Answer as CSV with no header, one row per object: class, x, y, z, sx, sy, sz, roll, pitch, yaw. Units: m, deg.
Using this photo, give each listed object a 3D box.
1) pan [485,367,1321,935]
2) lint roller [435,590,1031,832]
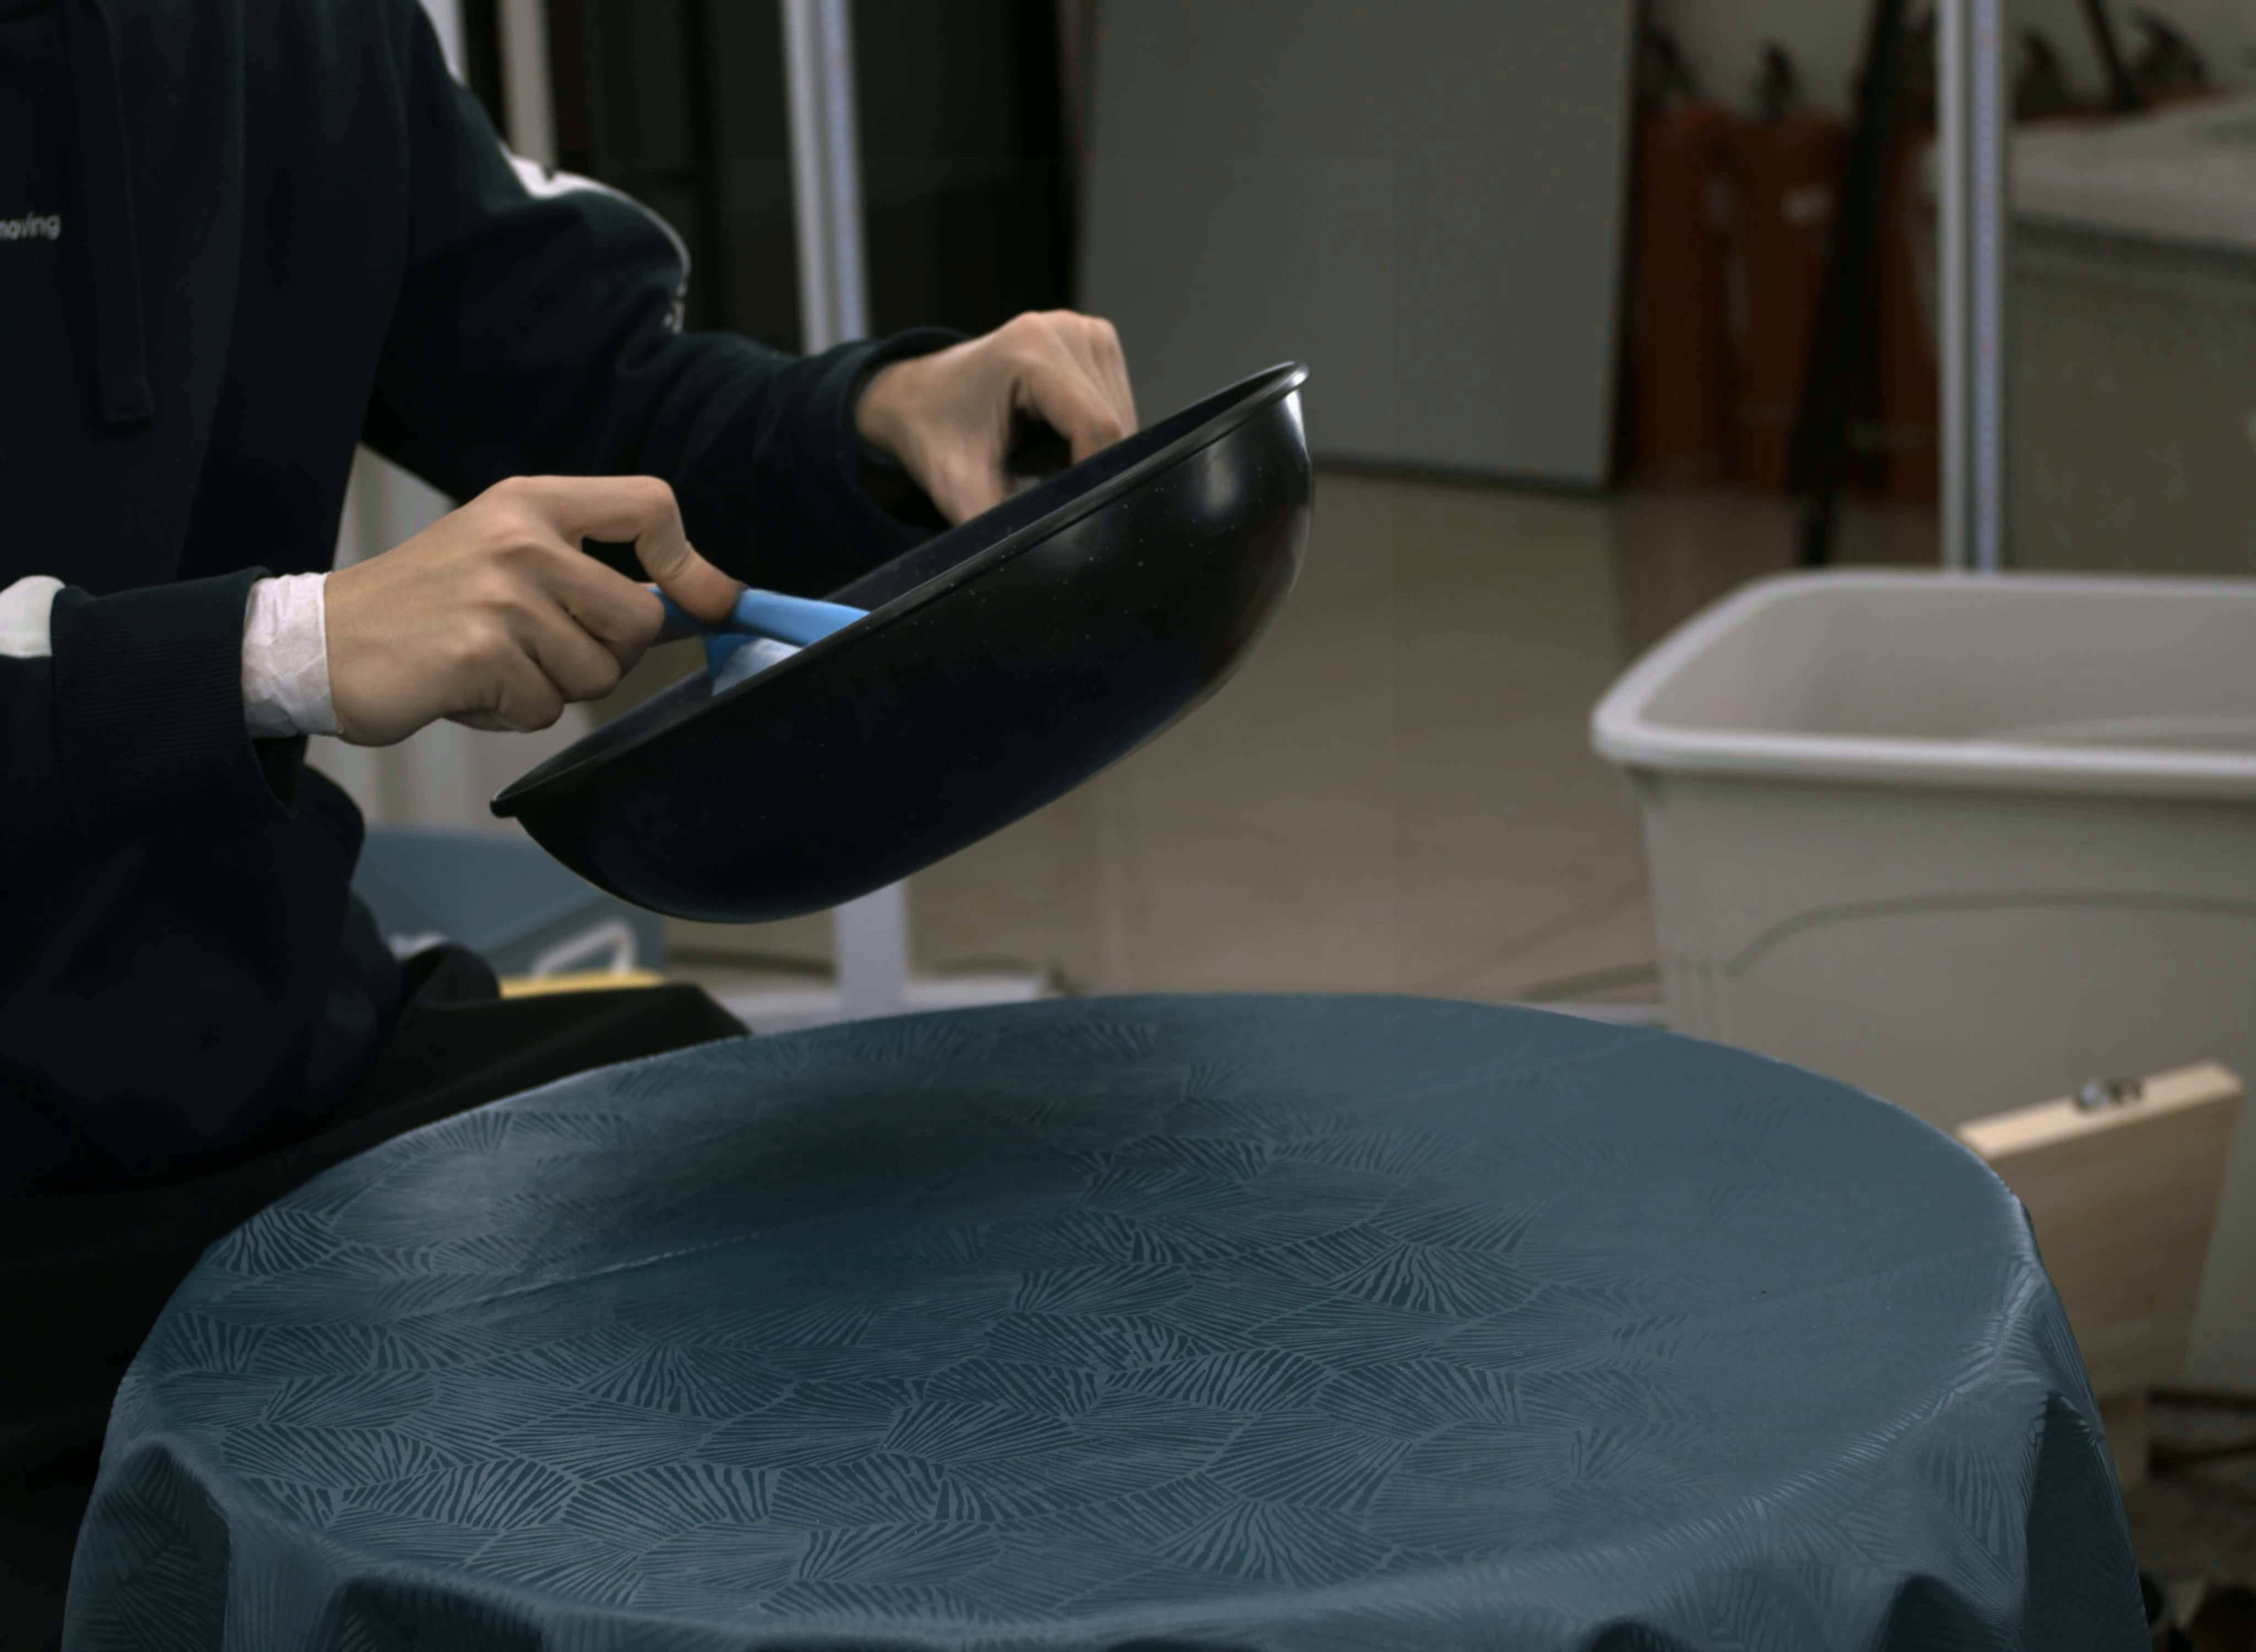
pan,-0.044,-0.071,1.860,0.310,0.112,0.474,-26,6,17
lint roller,-0.134,-0.046,1.767,0.176,0.069,0.231,14,1,-23
